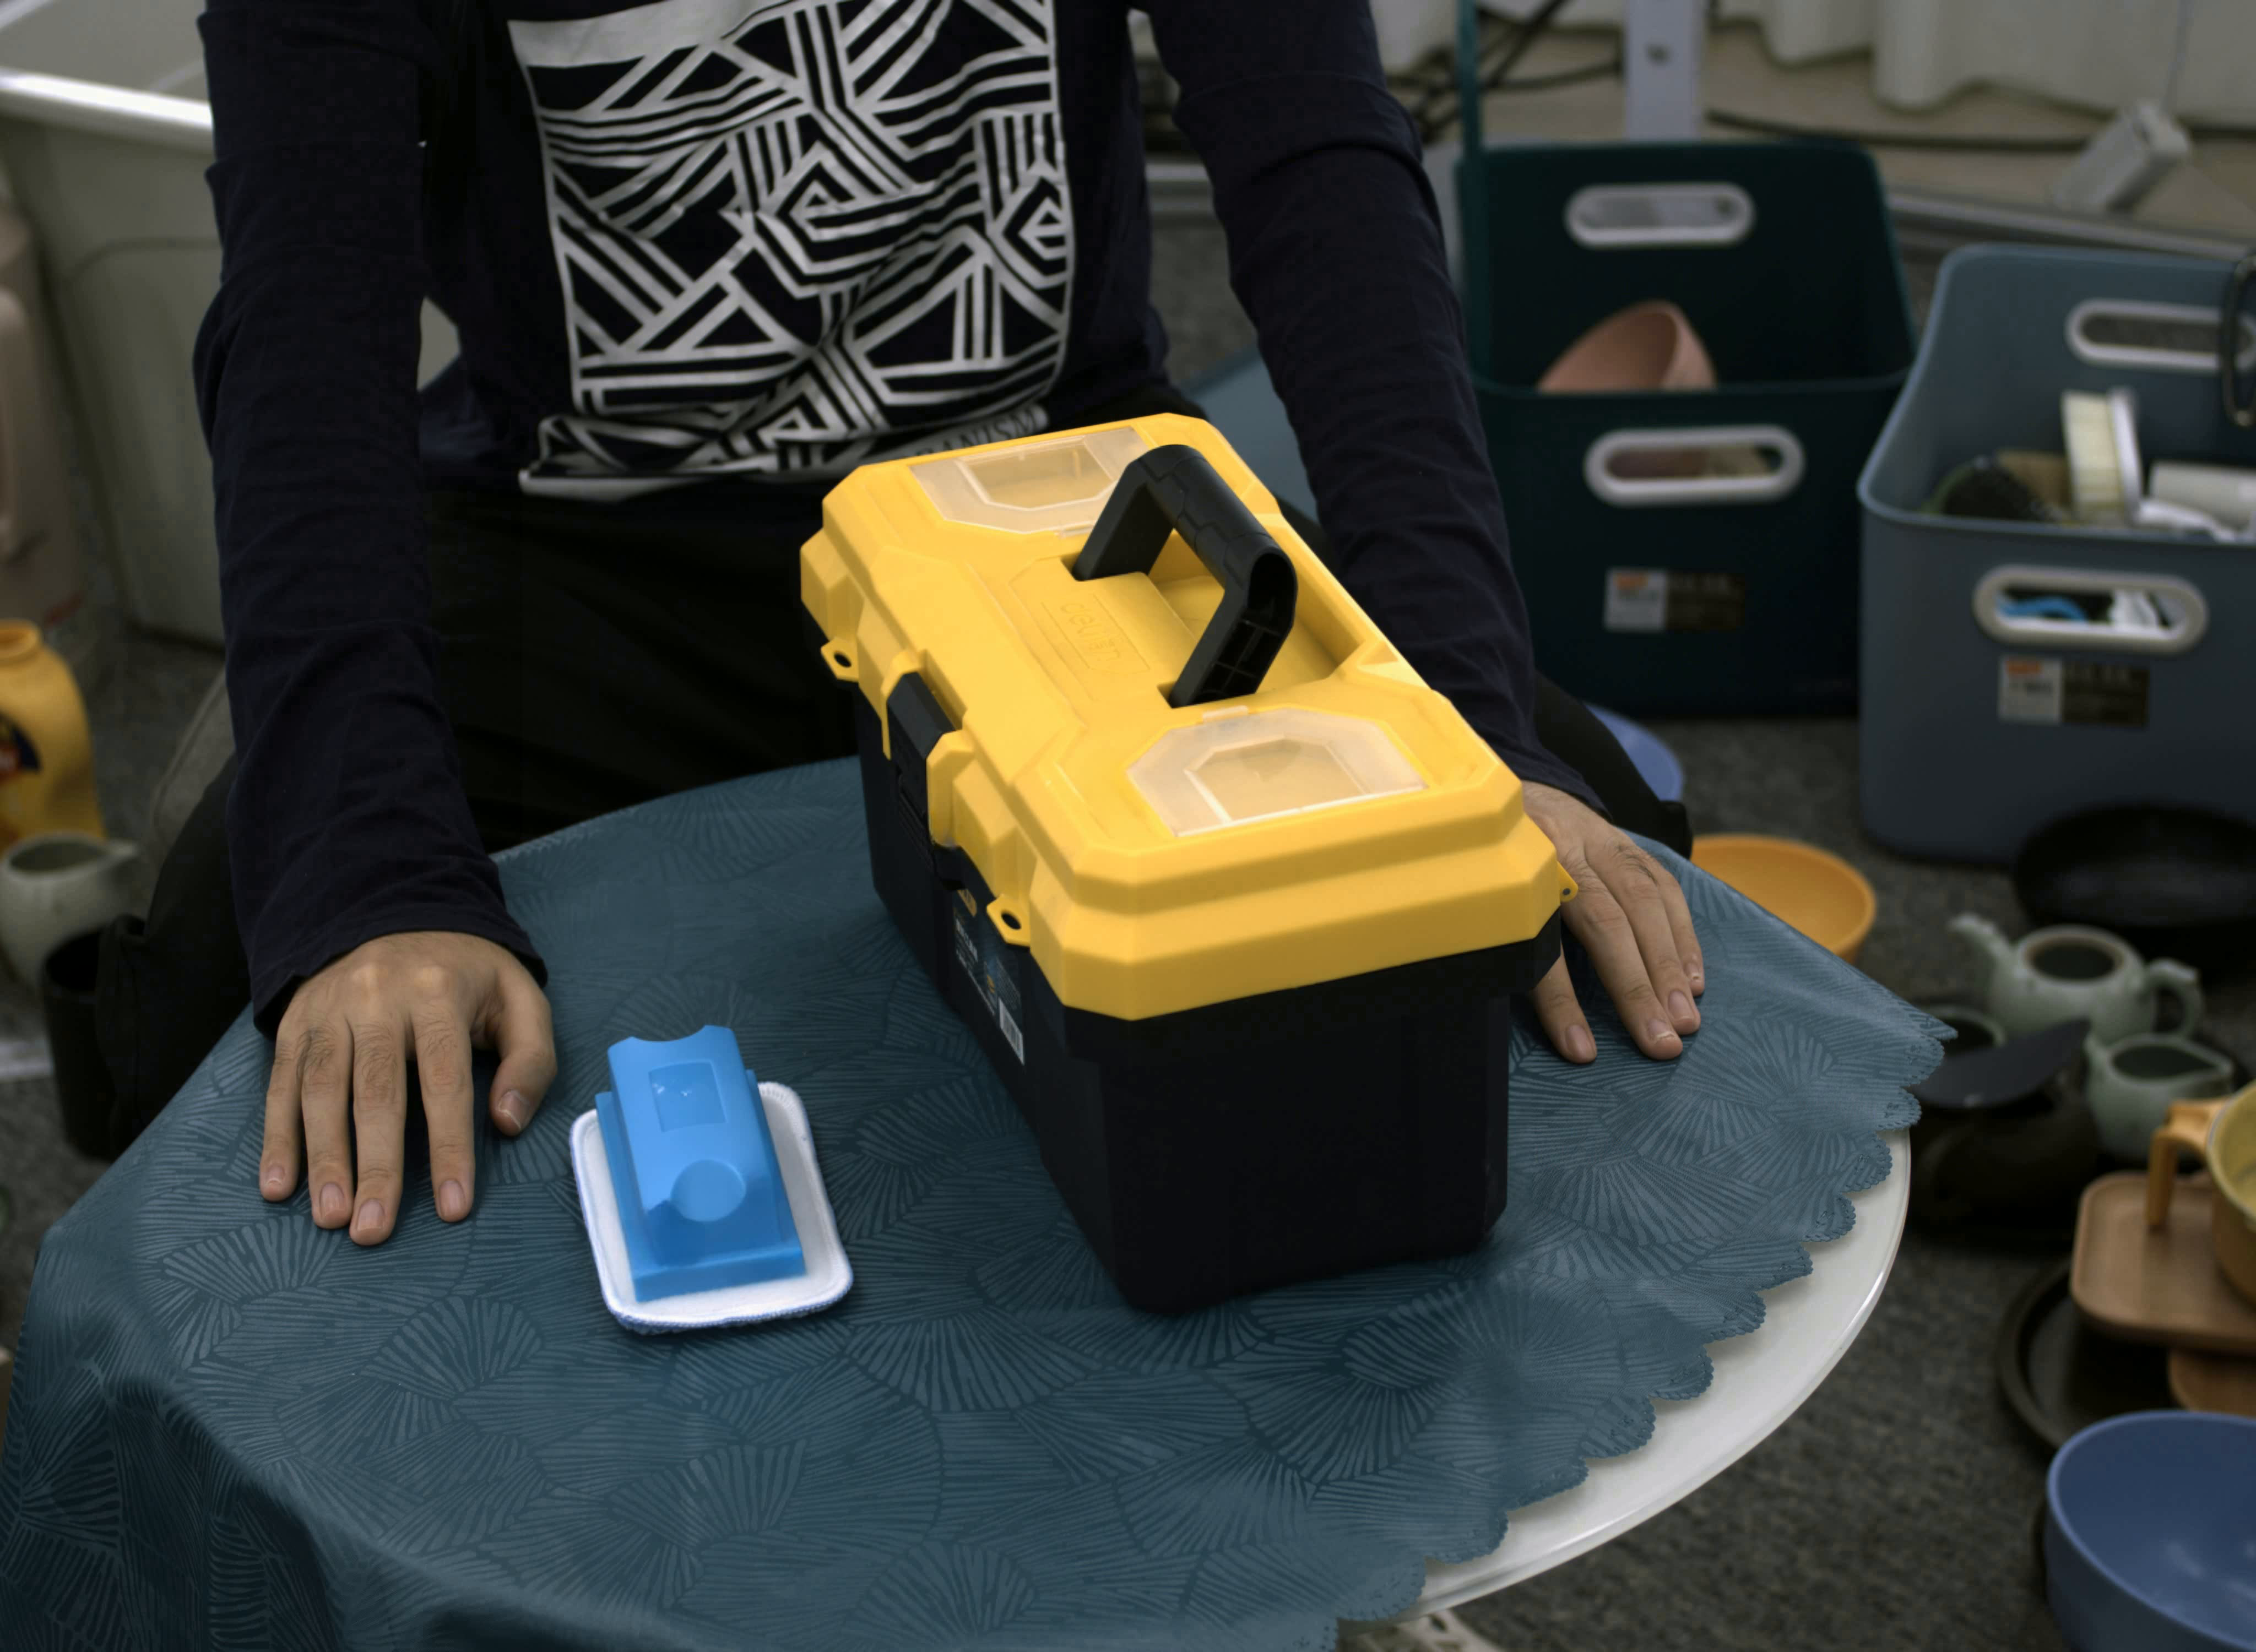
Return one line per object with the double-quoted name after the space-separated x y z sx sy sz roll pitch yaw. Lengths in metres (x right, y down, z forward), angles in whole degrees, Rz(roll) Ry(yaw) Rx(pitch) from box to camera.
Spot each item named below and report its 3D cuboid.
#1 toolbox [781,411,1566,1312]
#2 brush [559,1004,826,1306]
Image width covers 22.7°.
0.010 0.005 1.896 0.181 0.171 0.355 -10 28 -15 "toolbox"
-0.142 0.104 1.843 0.083 0.055 0.146 -3 29 -8 "brush"
